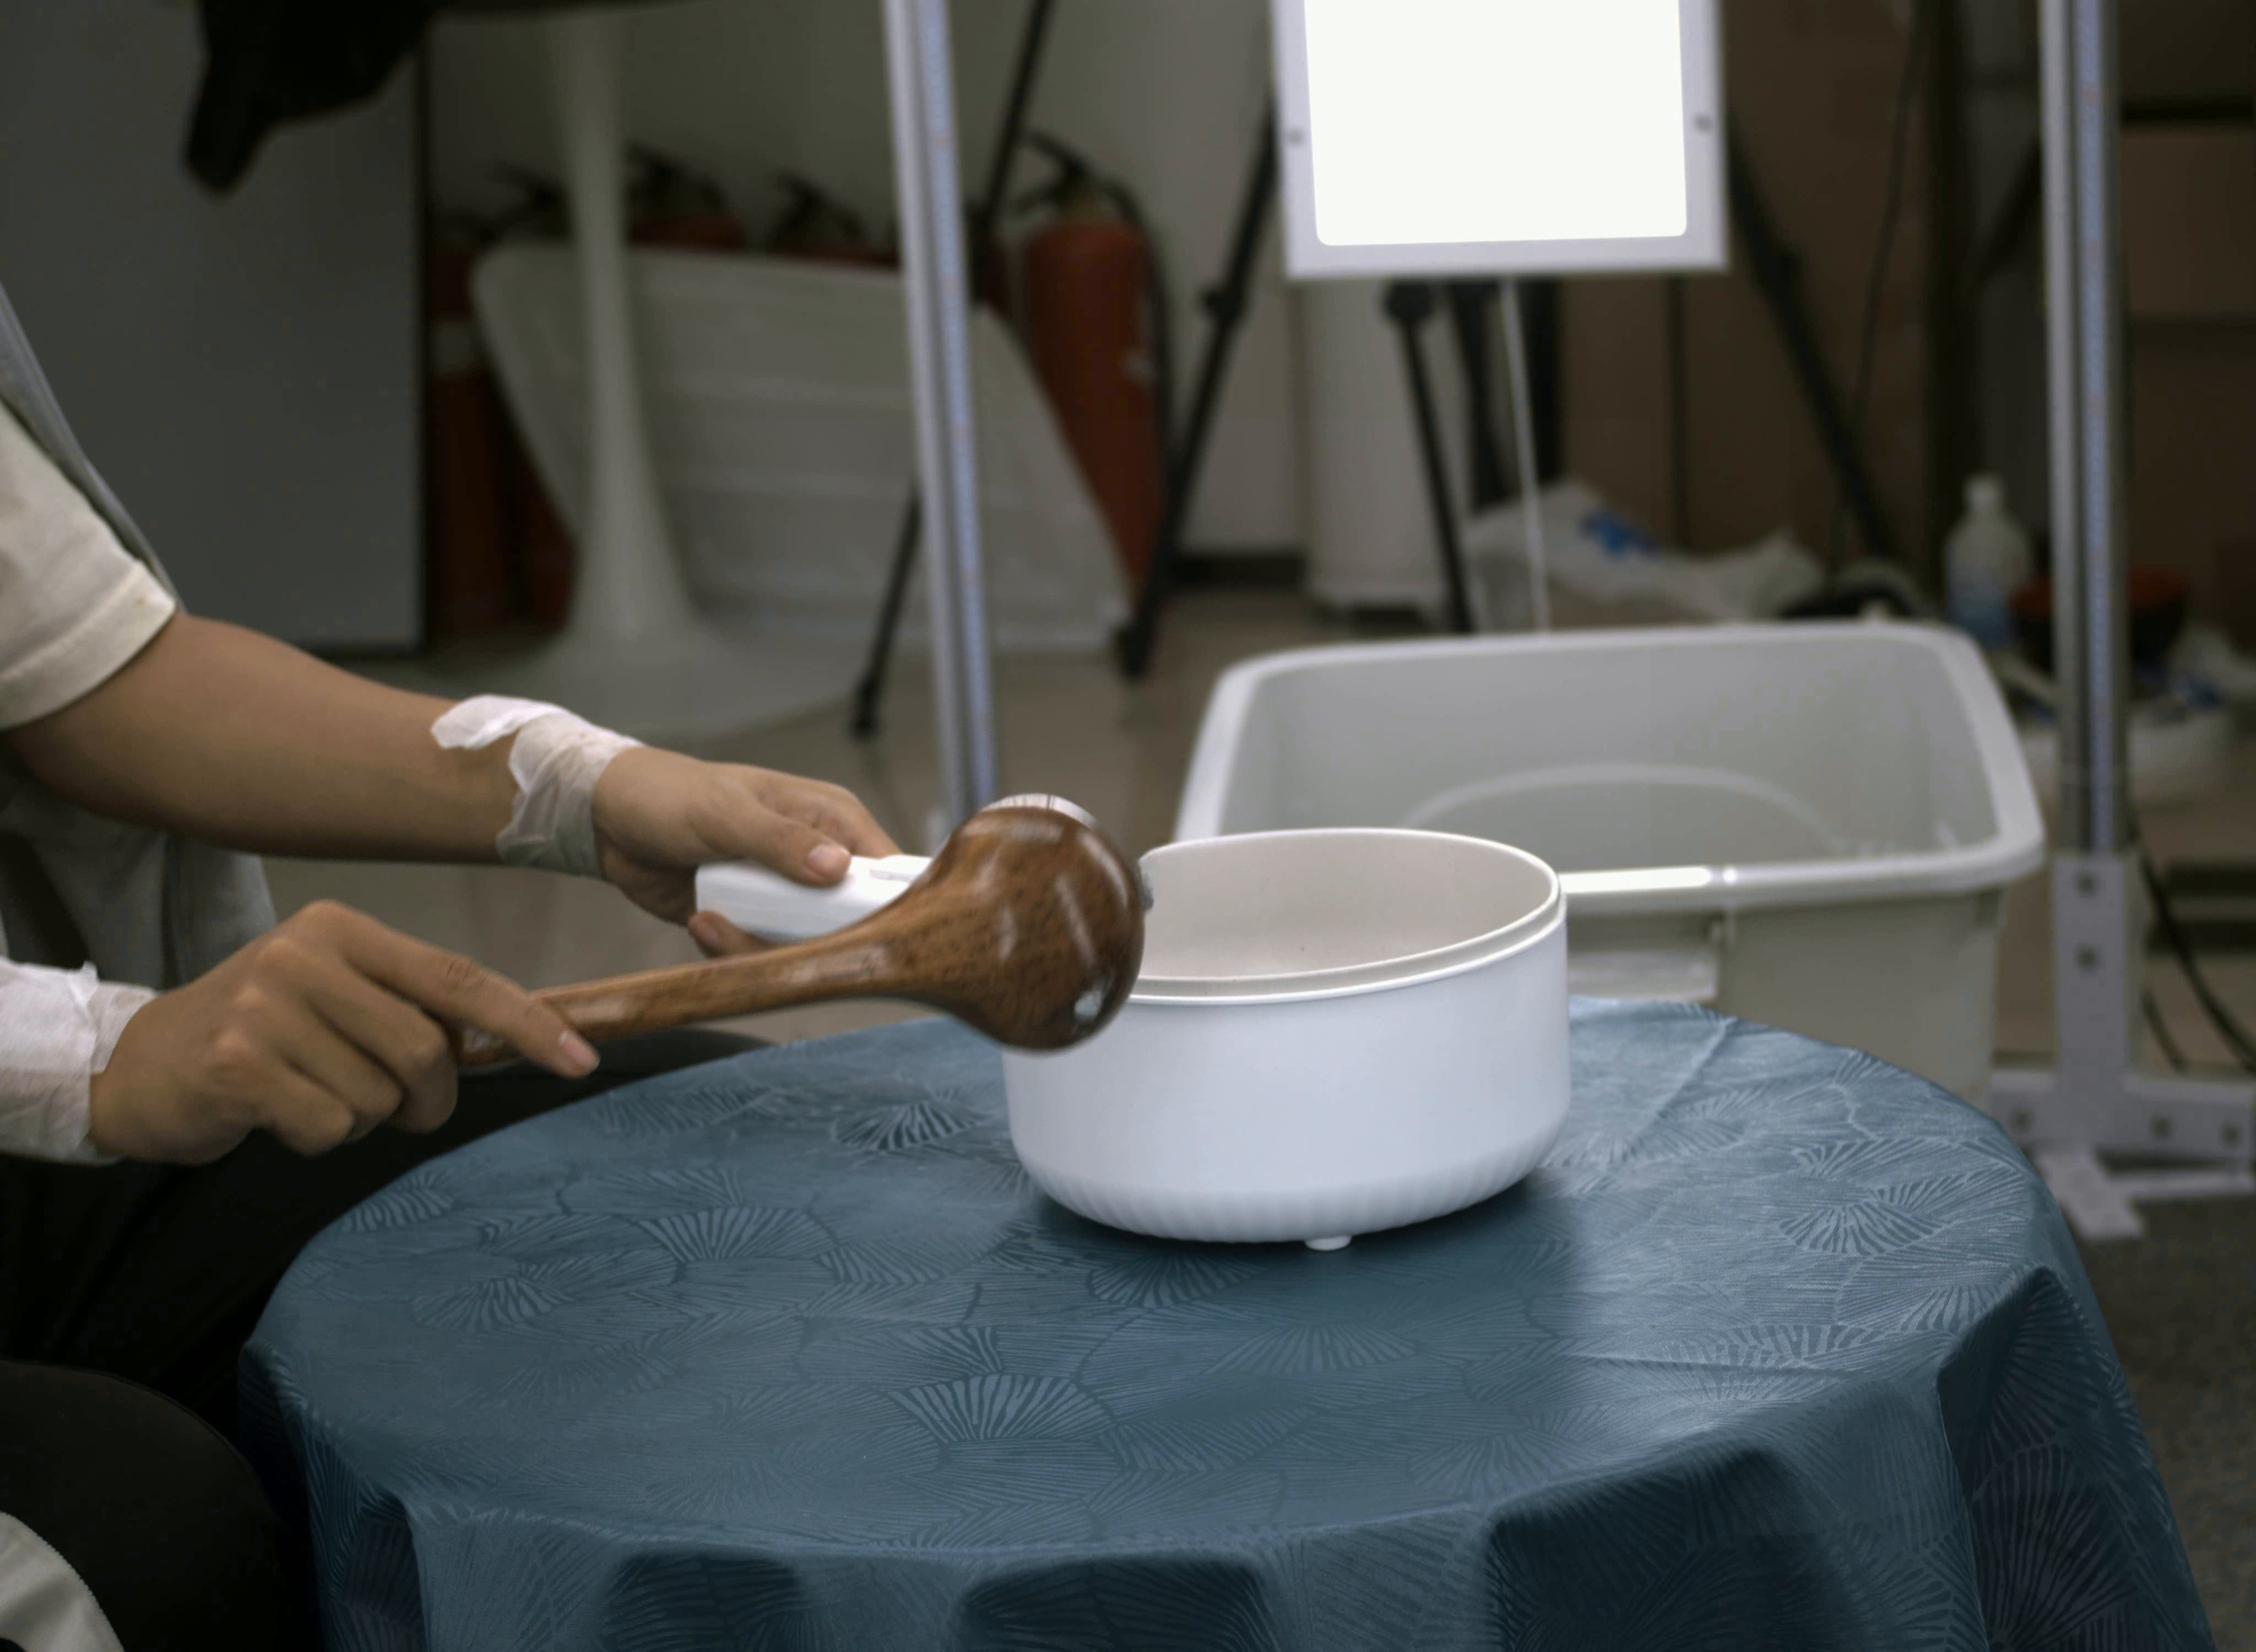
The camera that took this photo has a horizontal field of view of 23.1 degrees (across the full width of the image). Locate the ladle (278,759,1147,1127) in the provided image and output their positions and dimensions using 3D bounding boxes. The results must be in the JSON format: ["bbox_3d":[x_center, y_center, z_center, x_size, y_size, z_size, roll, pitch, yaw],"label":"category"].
[{"bbox_3d":[-0.128,0.046,1.730,0.275,0.082,0.076,-15,-7,10],"label":"ladle"}]

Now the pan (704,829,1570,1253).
[{"bbox_3d":[-0.006,0.069,1.930,0.362,0.102,0.196,6,18,40],"label":"pan"}]
